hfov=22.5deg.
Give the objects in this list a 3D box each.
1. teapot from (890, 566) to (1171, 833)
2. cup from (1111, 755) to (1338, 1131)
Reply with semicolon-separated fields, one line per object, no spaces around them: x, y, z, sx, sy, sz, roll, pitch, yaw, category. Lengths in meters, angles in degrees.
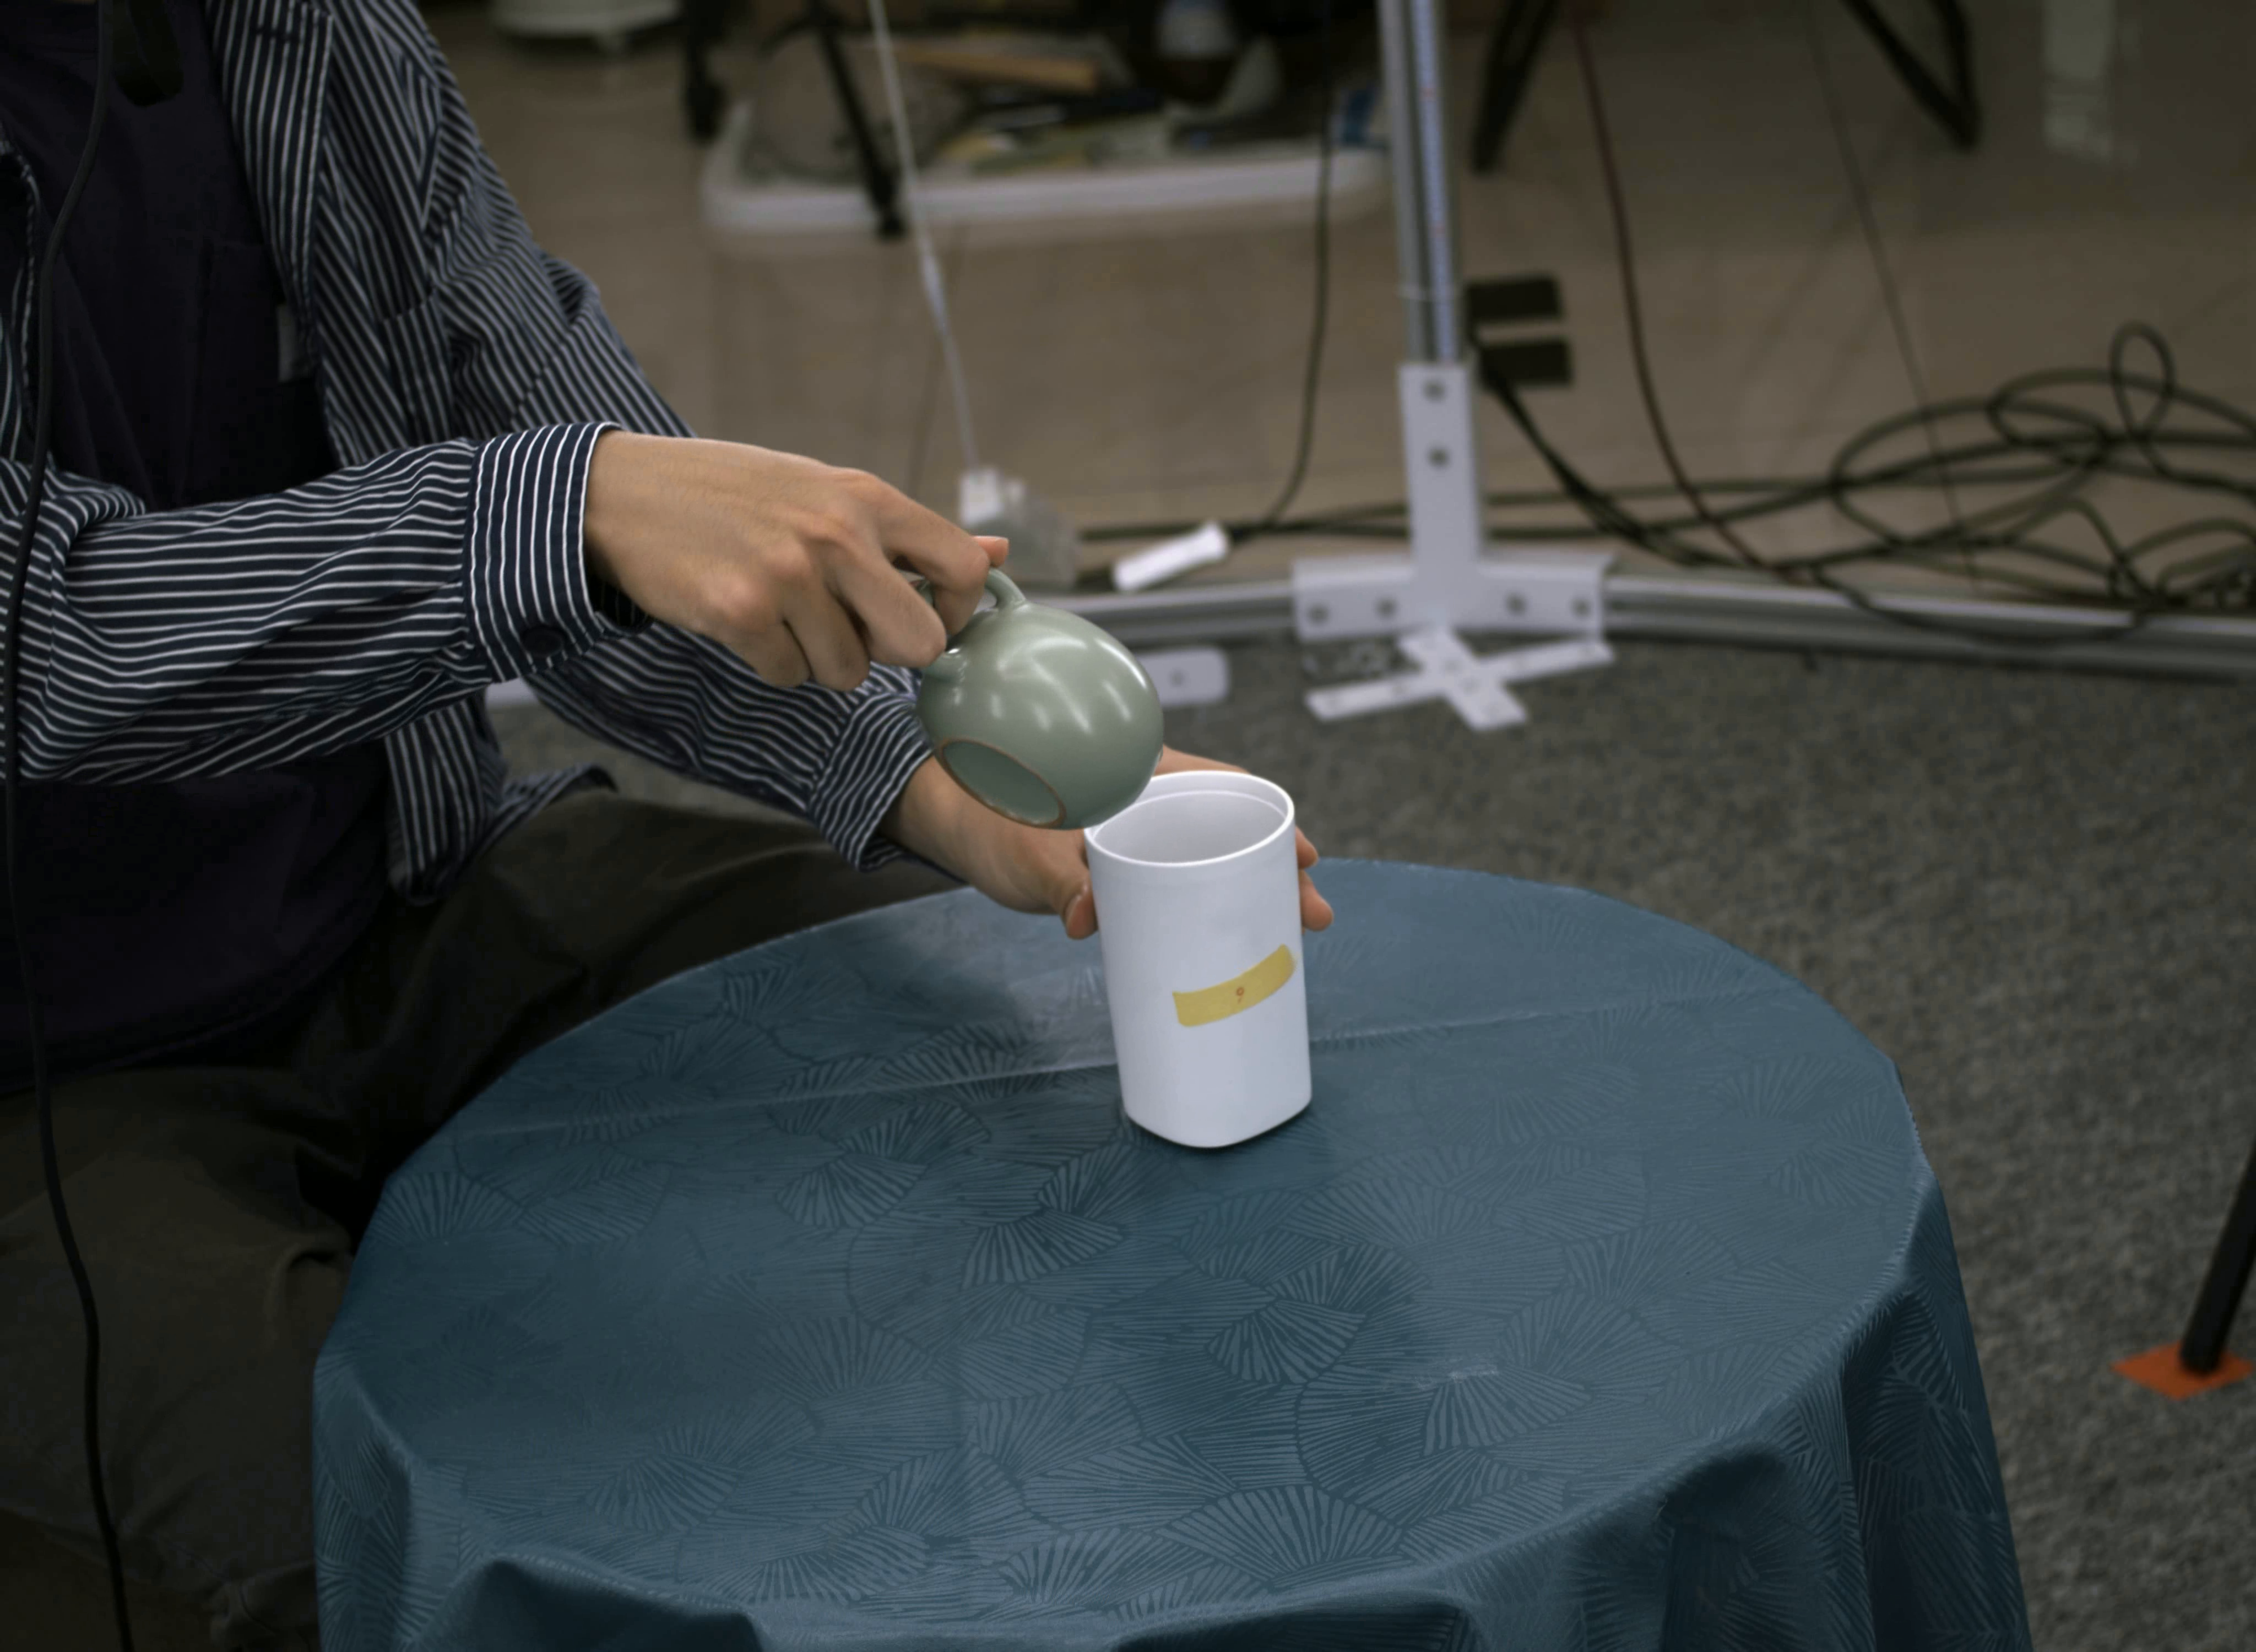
-0.038;-0.044;2.046;0.091;0.130;0.060;2;55;53;teapot
0.040;0.046;2.177;0.081;0.127;0.080;-5;27;3;cup
